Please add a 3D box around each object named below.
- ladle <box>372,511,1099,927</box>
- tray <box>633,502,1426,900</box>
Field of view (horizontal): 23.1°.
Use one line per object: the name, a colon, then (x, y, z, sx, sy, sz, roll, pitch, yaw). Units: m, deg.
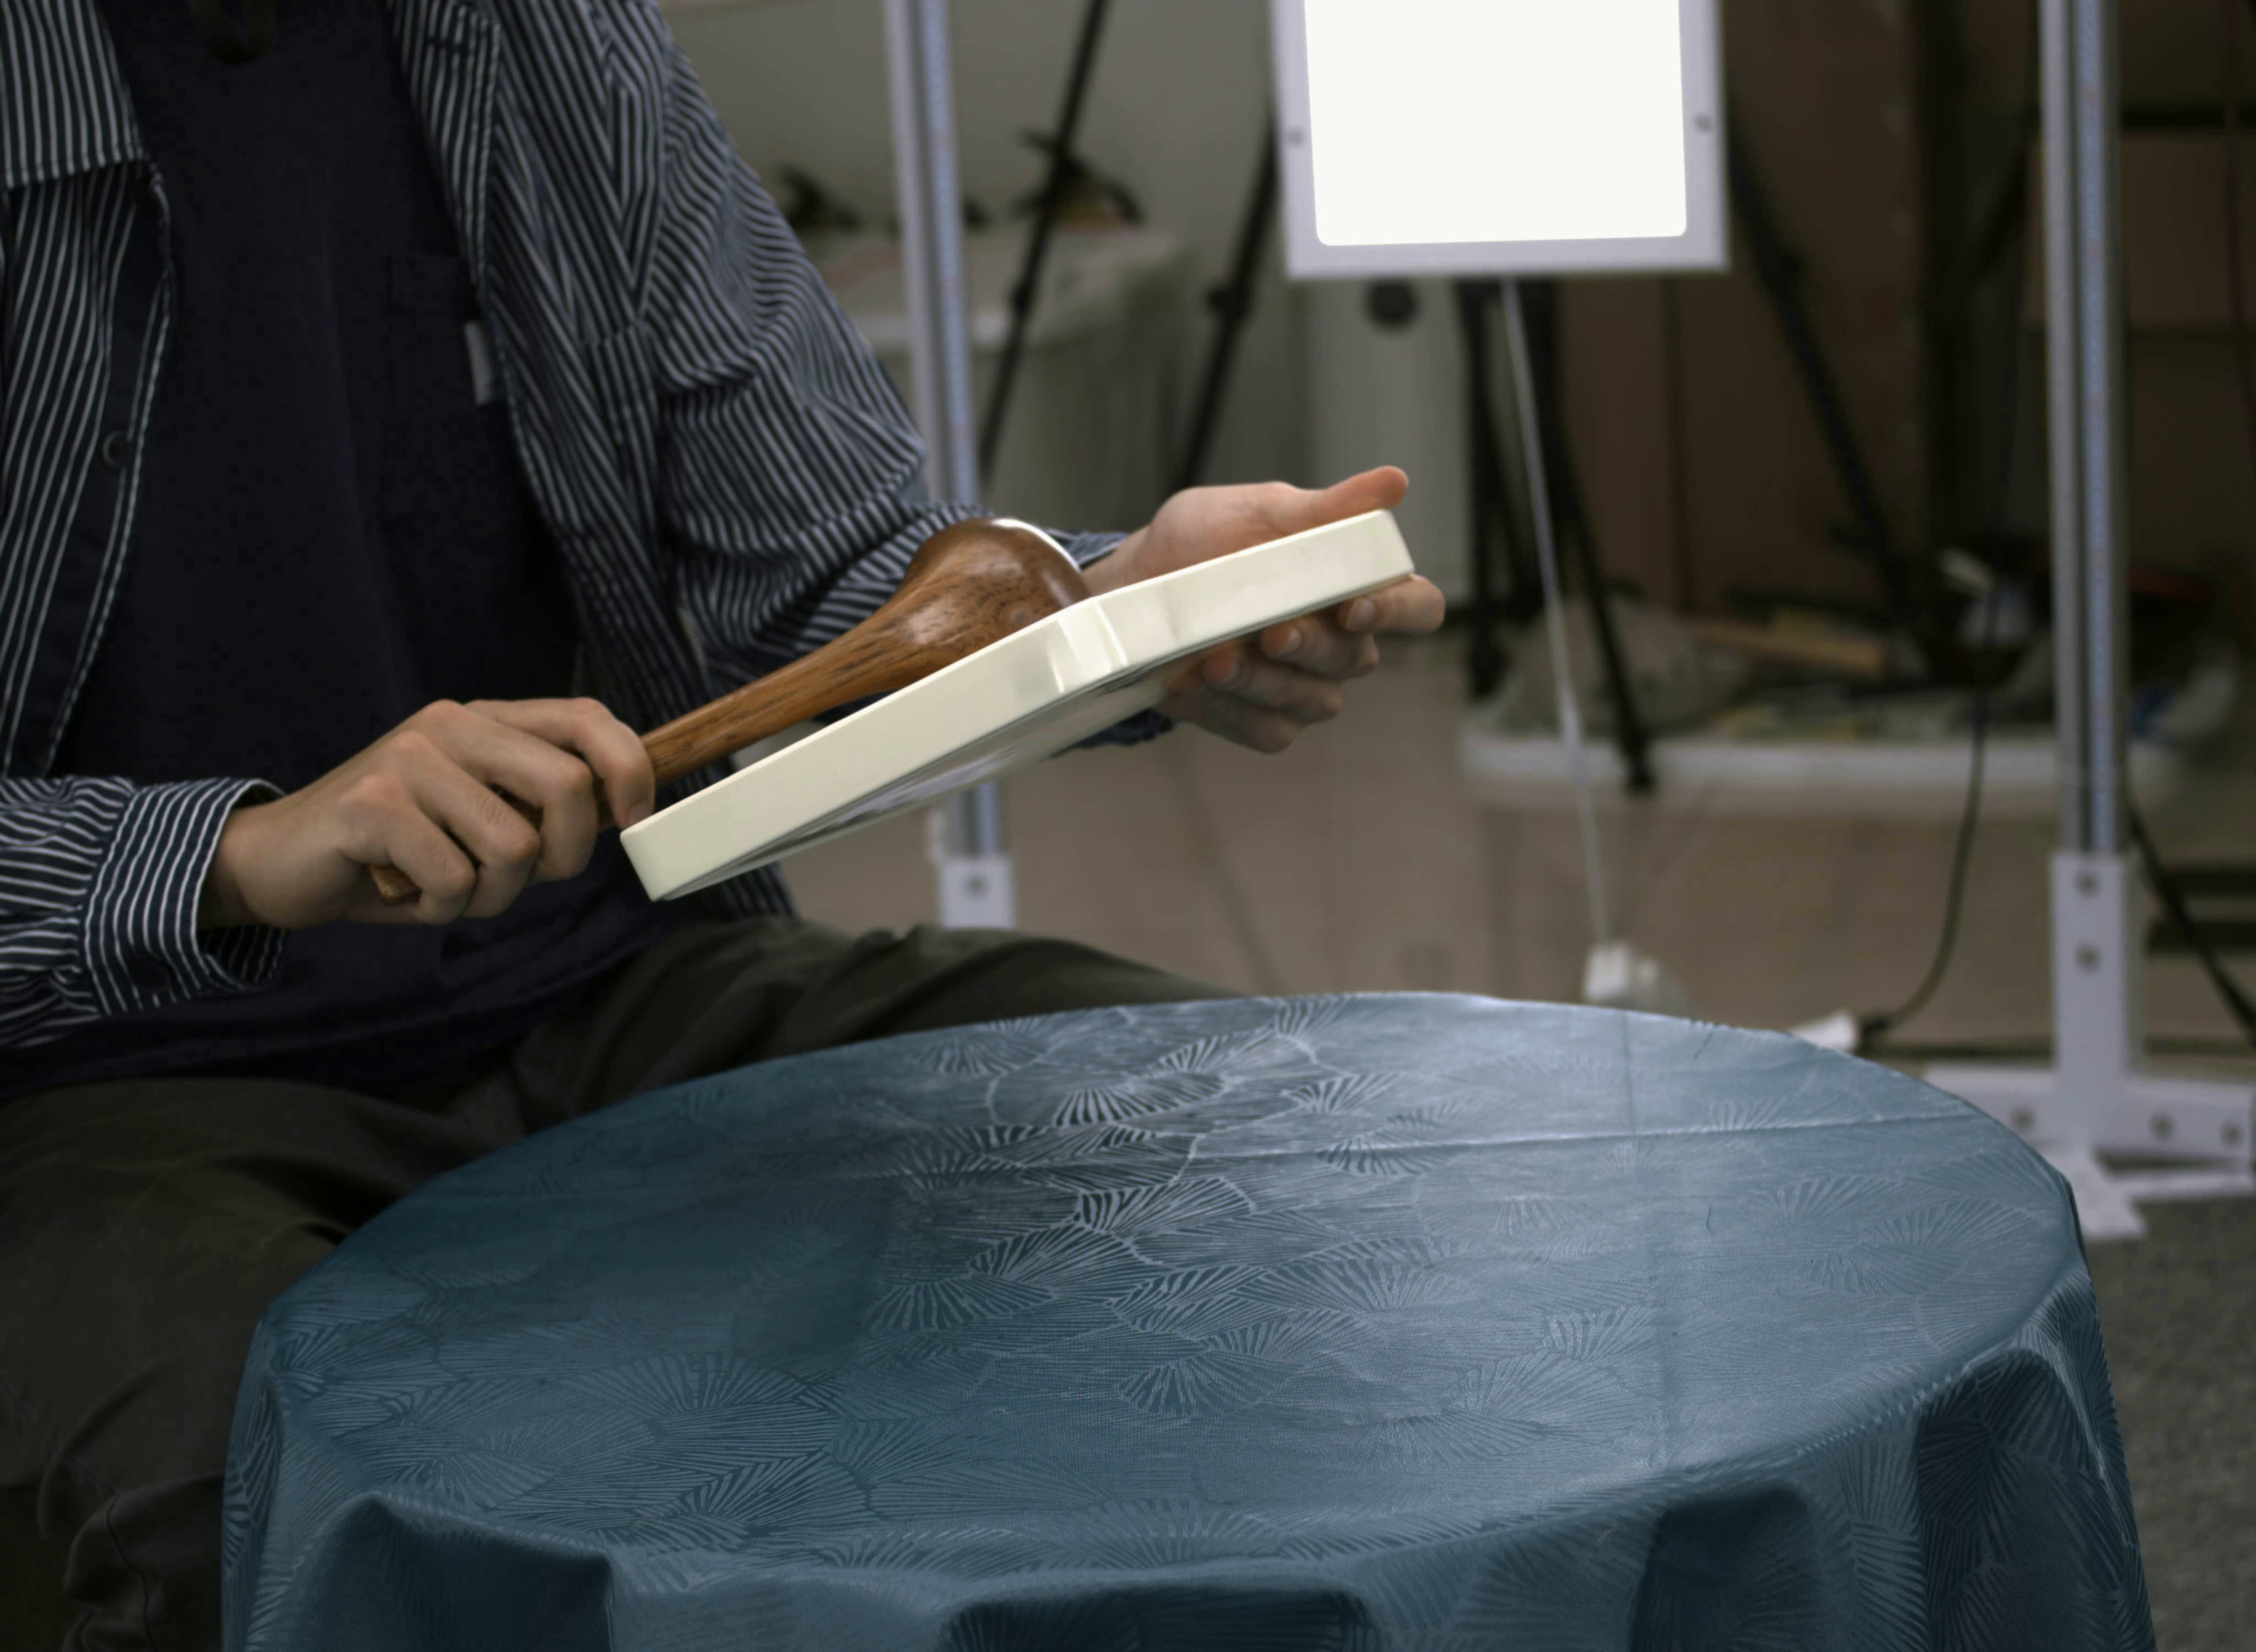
ladle: (-0.135, -0.029, 1.934, 0.273, 0.082, 0.076, -27, -21, -2)
tray: (-0.027, -0.045, 1.882, 0.195, 0.027, 0.294, -26, -2, 27)
